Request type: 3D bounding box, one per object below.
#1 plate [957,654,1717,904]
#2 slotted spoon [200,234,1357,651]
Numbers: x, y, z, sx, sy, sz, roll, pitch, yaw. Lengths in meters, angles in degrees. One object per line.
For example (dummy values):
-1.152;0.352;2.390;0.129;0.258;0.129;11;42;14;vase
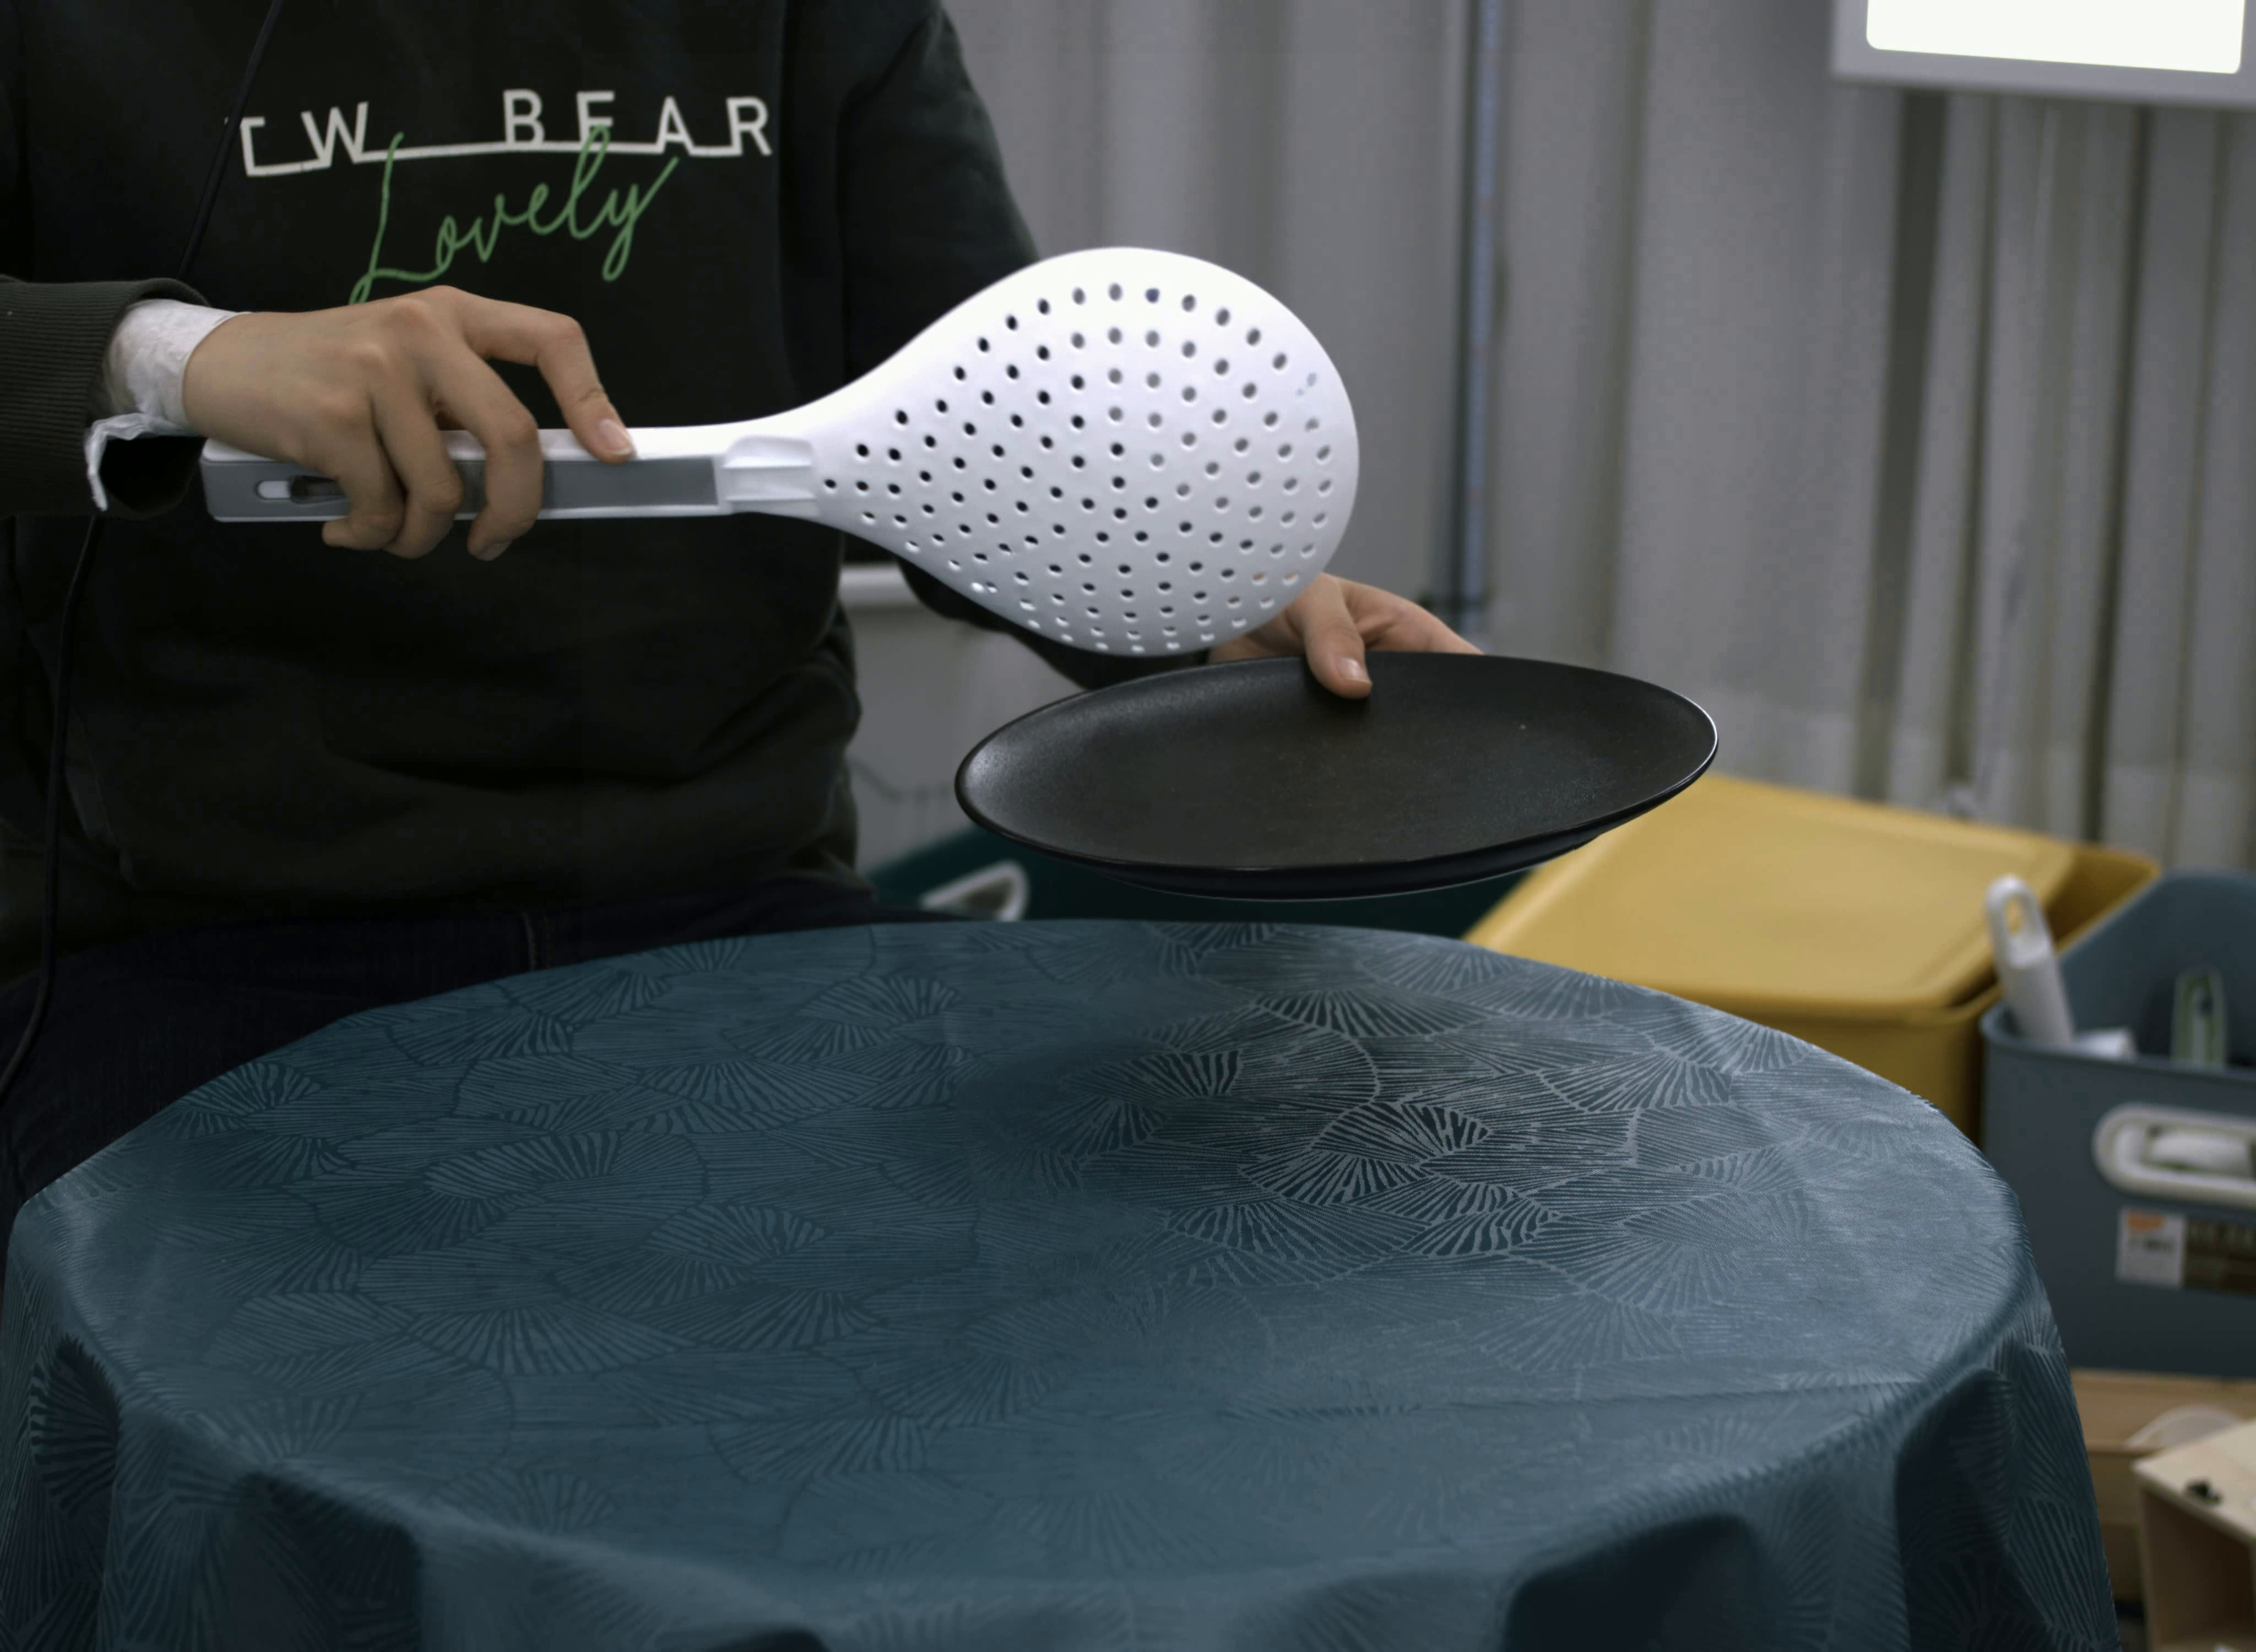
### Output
0.067;-0.014;1.684;0.243;0.023;0.243;-3;17;2;plate
-0.107;-0.108;1.578;0.347;0.137;0.045;1;30;9;slotted spoon
